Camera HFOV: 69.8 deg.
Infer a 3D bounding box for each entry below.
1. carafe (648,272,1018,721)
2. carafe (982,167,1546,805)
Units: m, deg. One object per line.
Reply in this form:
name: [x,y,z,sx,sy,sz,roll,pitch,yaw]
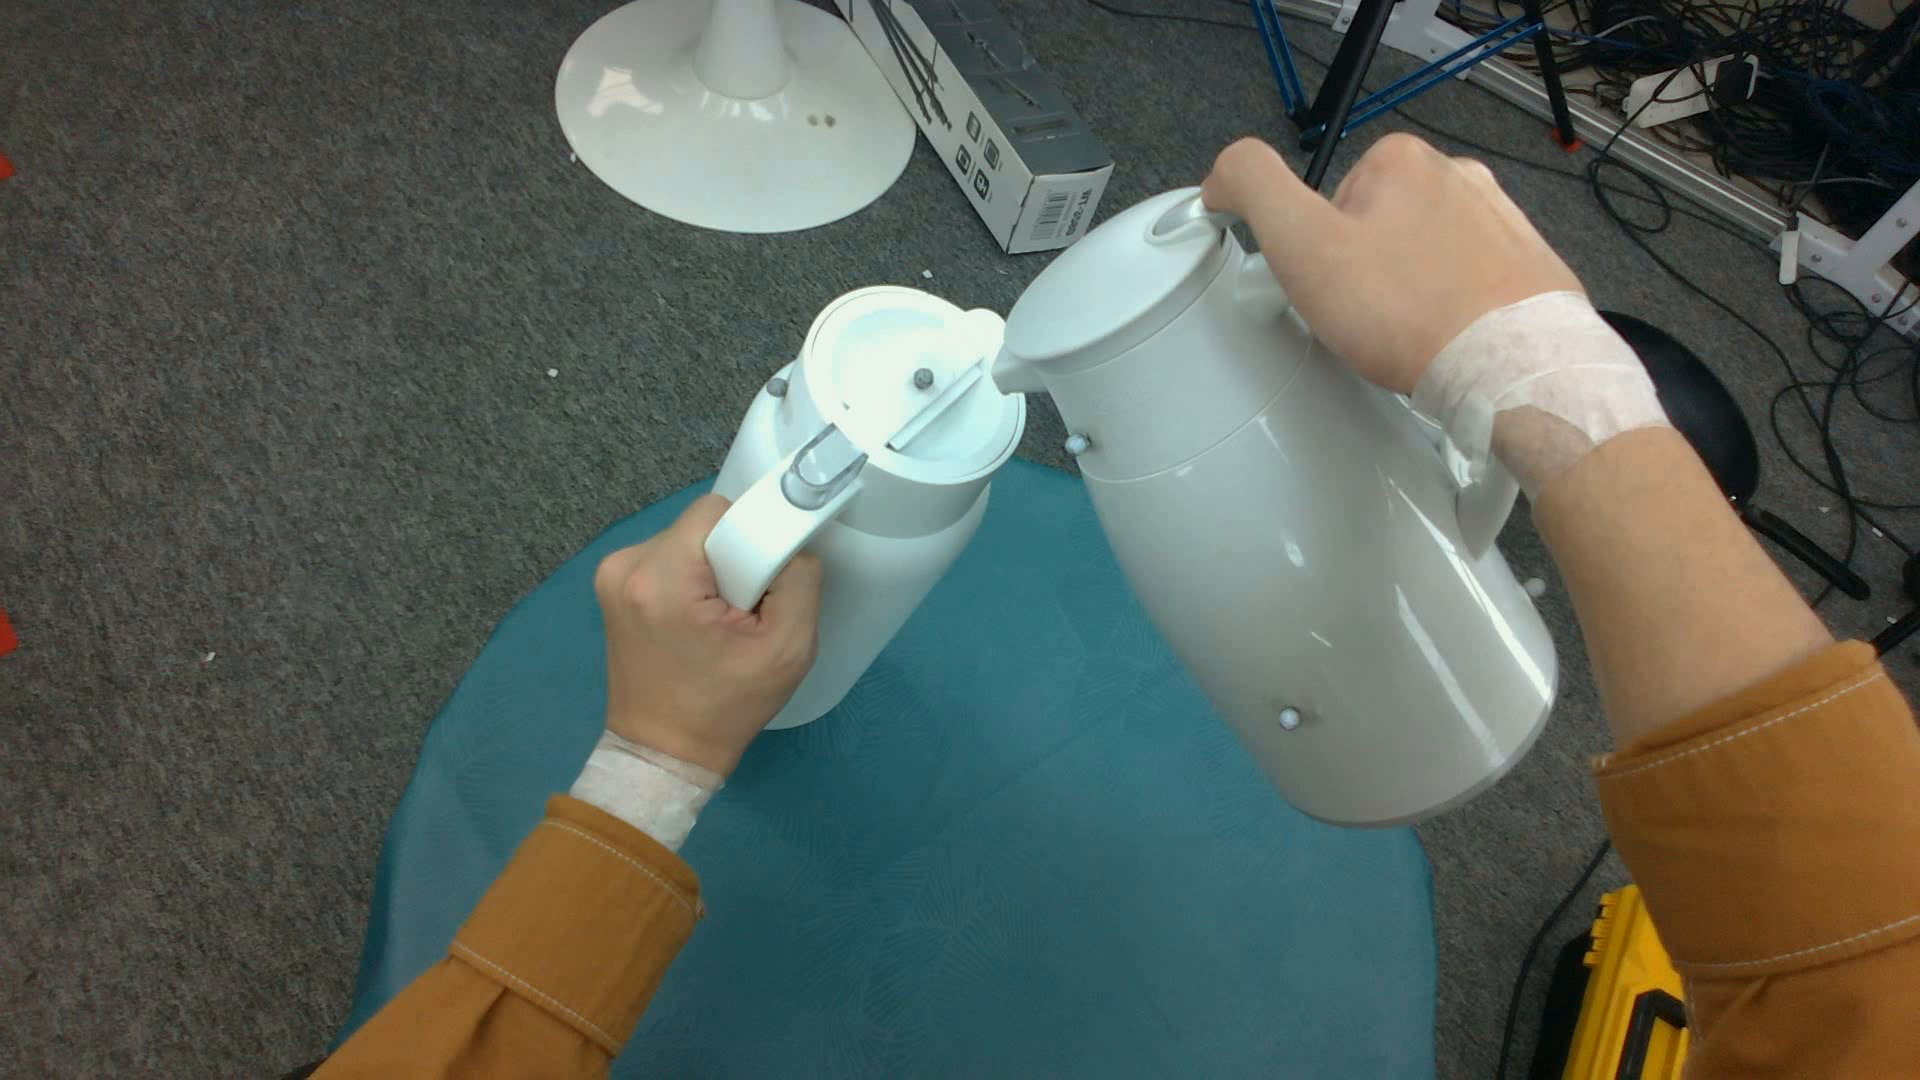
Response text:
carafe: [-0.078,0.000,0.663,0.124,0.267,0.173,43,54,0]
carafe: [0.132,-0.029,0.532,0.248,0.167,0.133,50,38,-27]
